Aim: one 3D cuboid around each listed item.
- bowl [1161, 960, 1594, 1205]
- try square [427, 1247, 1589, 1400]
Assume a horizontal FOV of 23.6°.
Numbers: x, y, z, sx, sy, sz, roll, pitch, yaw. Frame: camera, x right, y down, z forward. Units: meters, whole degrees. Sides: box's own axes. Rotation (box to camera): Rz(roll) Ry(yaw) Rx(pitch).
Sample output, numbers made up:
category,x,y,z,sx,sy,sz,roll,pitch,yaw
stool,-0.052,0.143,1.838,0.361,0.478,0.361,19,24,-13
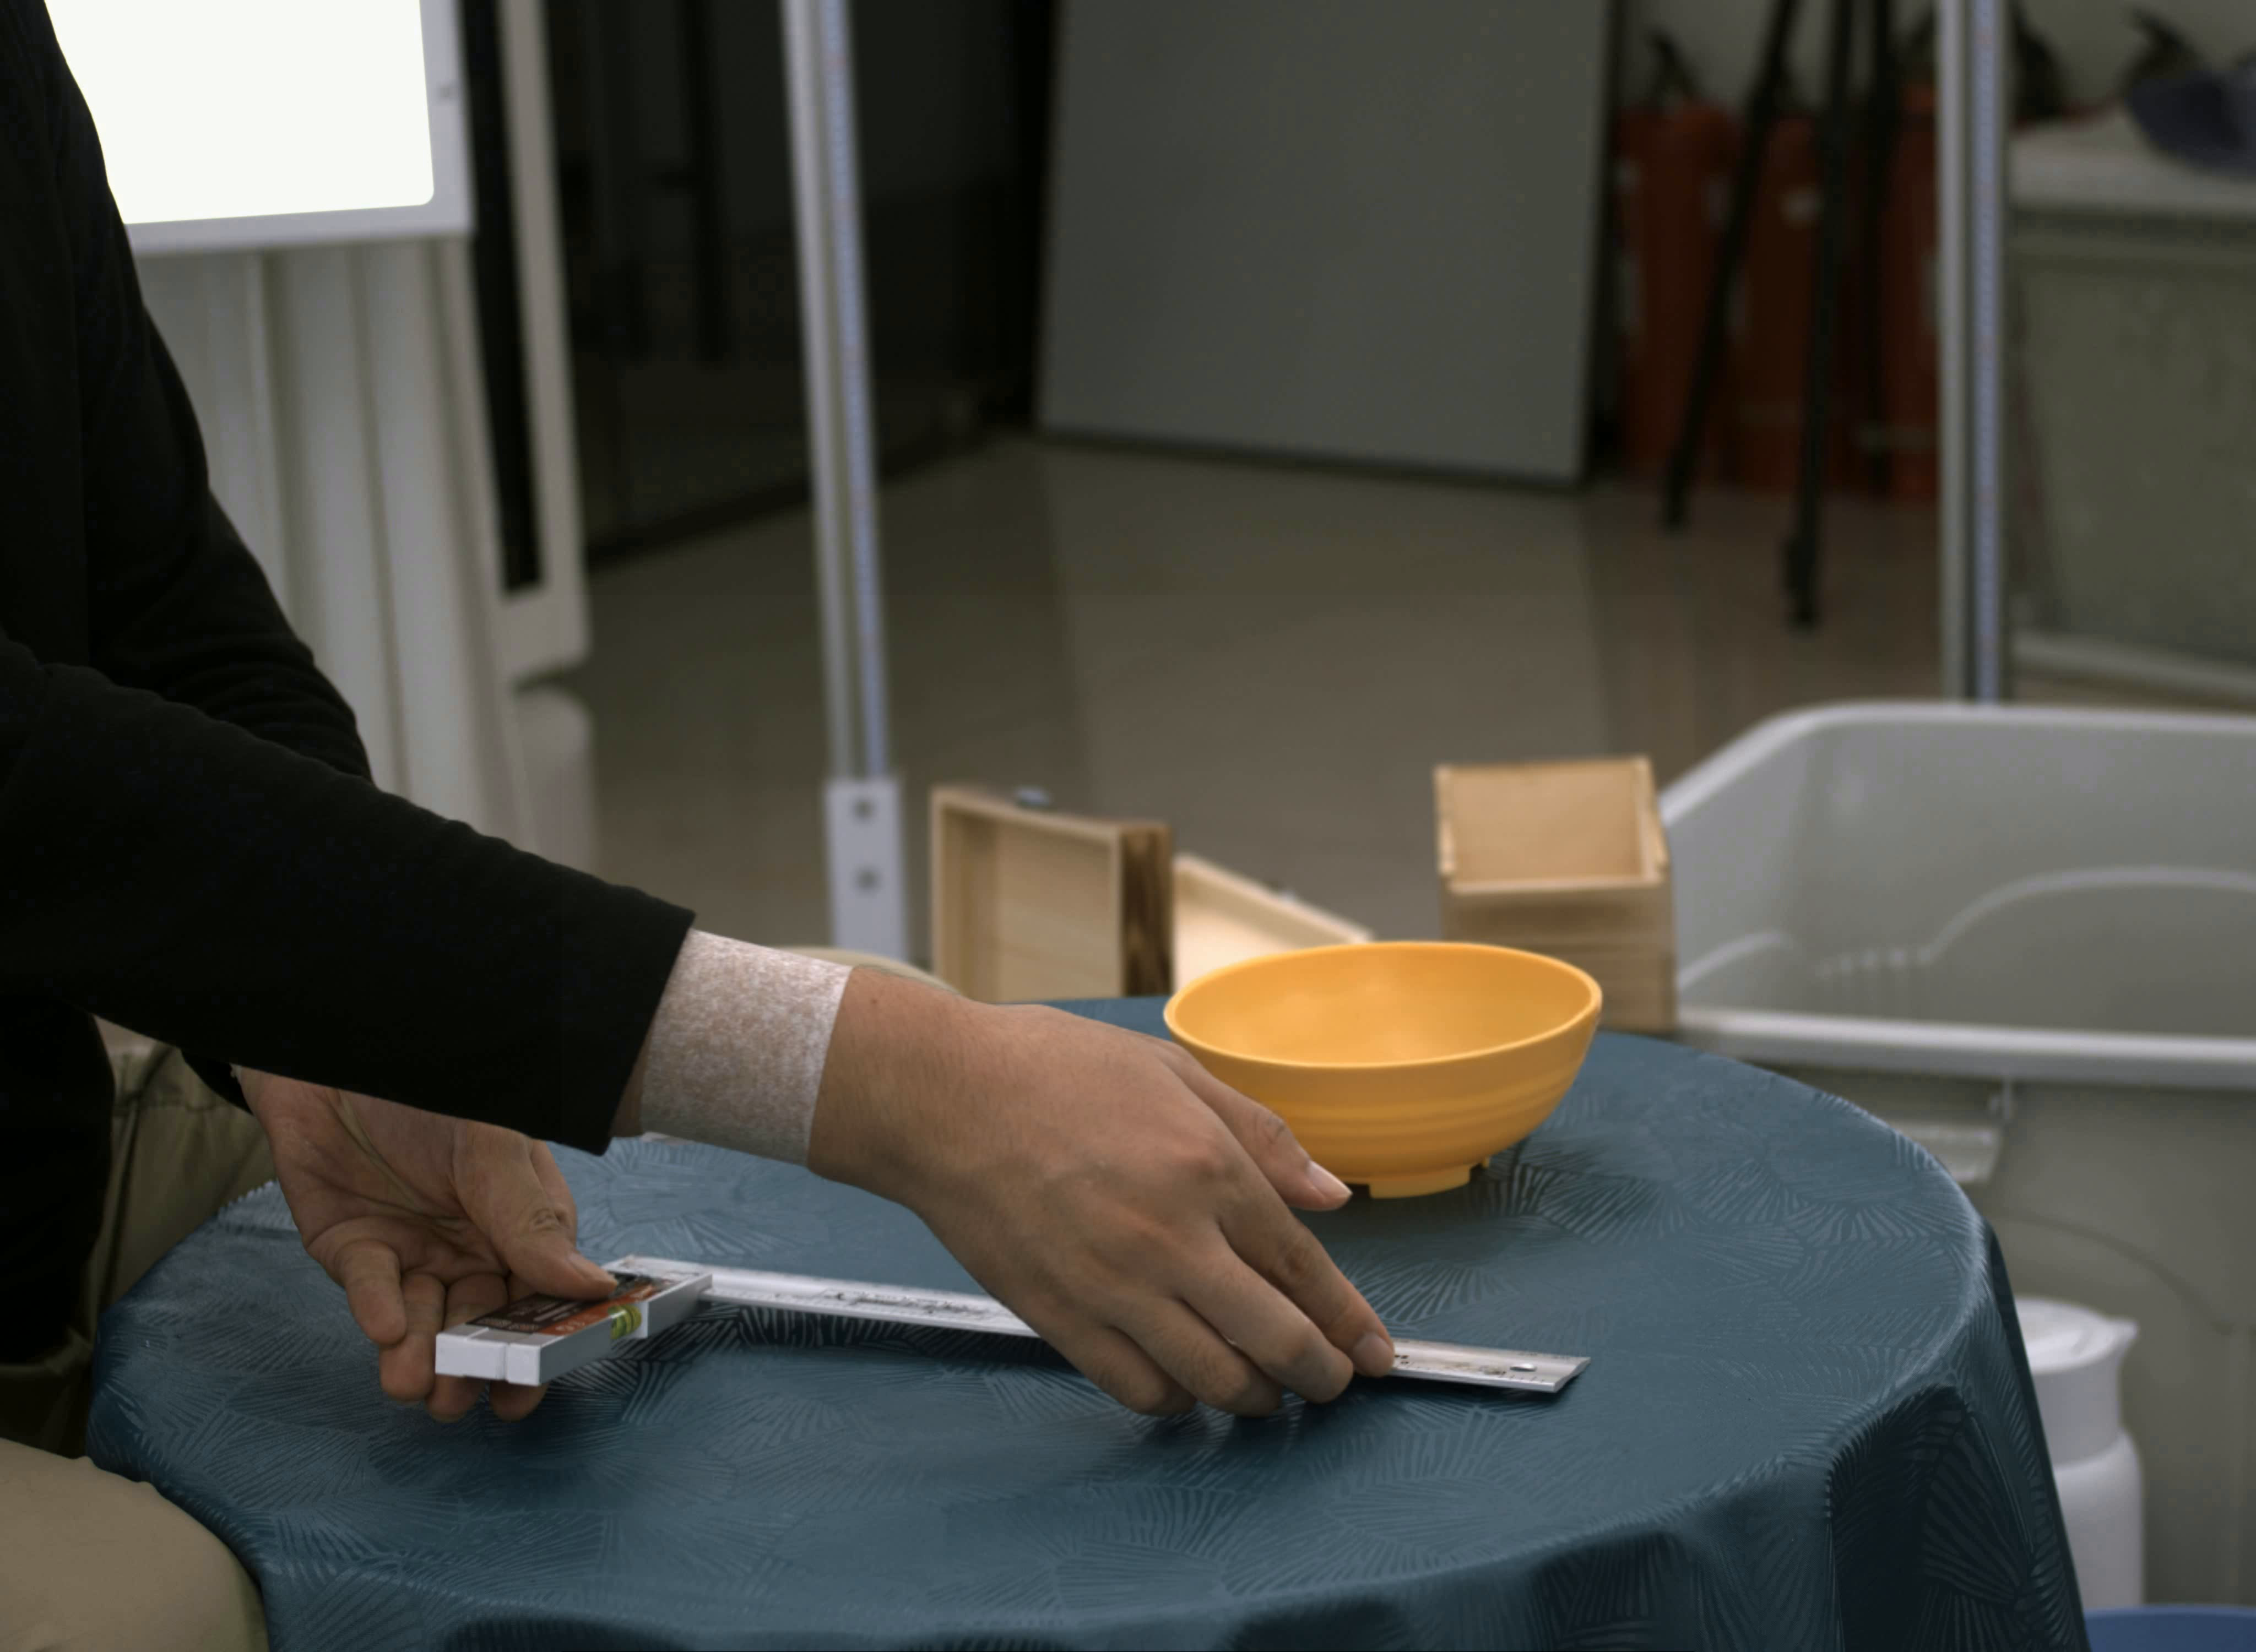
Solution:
category,x,y,z,sx,sy,sz,roll,pitch,yaw
bowl,0.083,0.087,1.767,0.143,0.061,0.145,-5,11,0
try square,-0.034,0.157,1.575,0.313,0.016,0.150,4,10,22
